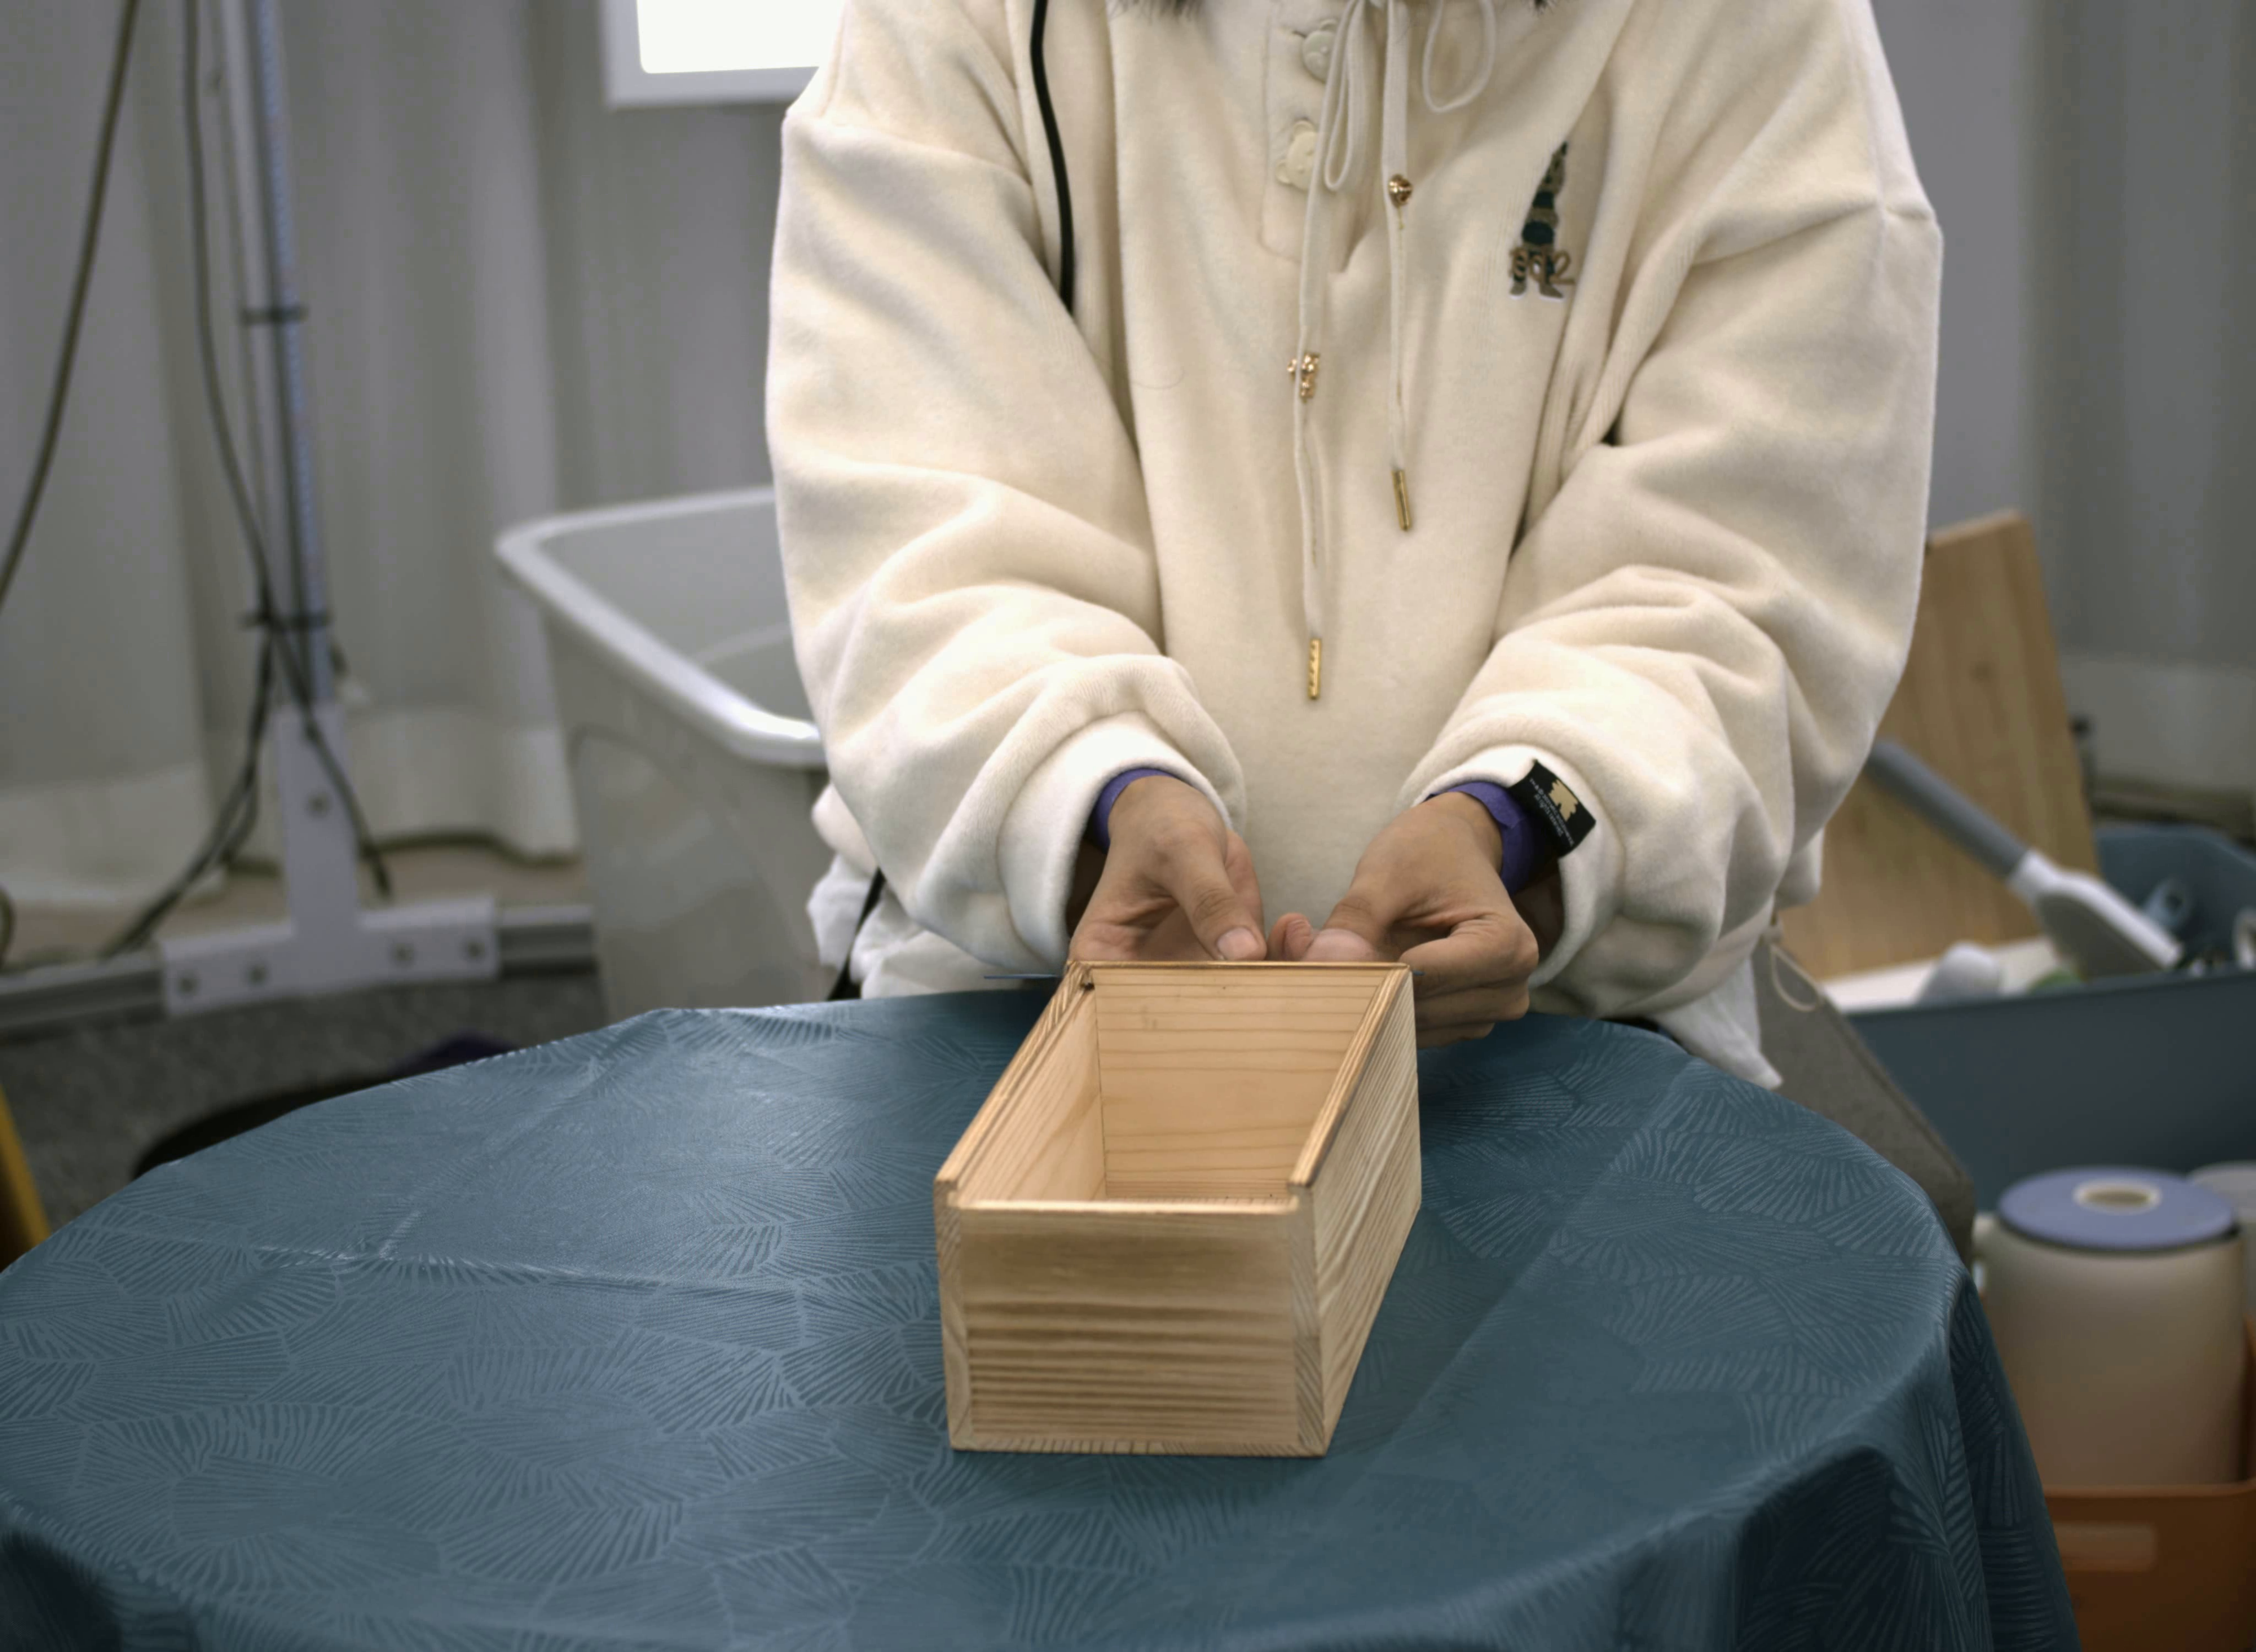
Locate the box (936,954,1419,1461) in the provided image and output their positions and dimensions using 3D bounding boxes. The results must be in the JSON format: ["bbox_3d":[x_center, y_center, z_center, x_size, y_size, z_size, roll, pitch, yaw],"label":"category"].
[{"bbox_3d":[0.019,0.106,1.587,0.107,0.080,0.212,0,15,10],"label":"box"}]

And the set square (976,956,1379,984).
[{"bbox_3d":[0.021,0.044,1.719,0.132,0.006,0.061,-1,3,16],"label":"set square"}]
